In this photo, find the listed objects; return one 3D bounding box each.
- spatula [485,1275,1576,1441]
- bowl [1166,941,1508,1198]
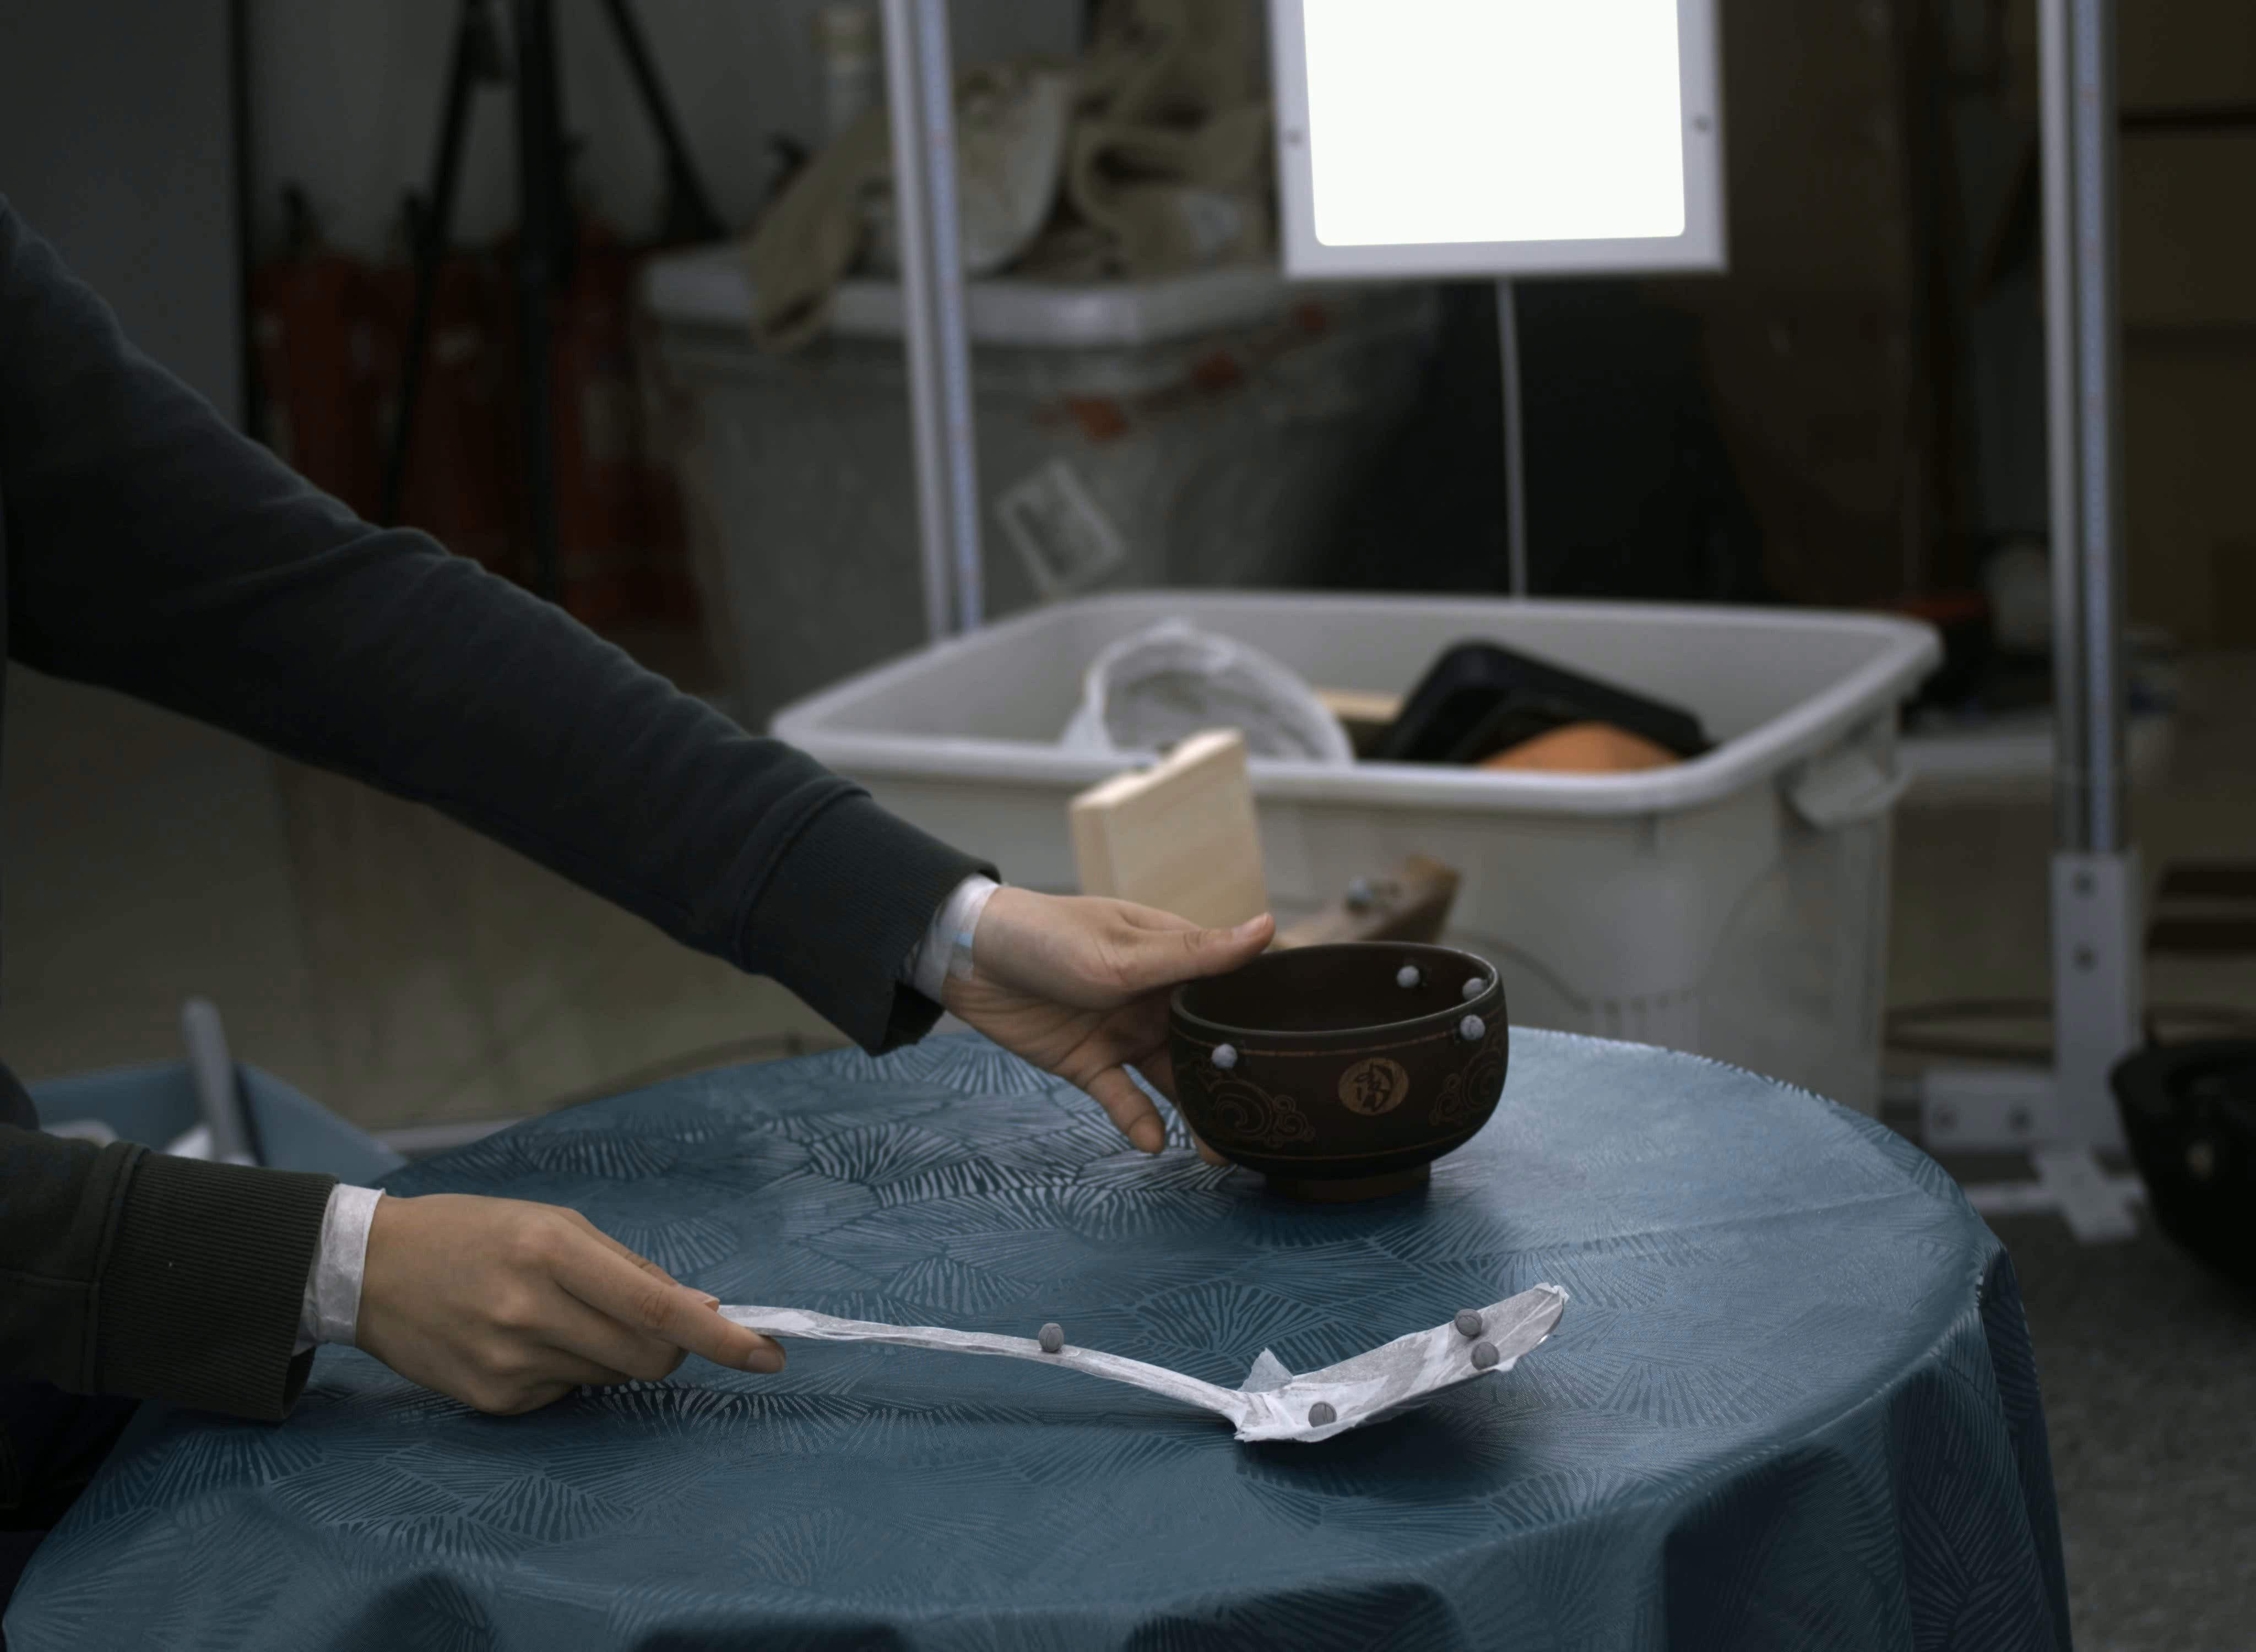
[{"bbox_3d":[-0.041,0.155,1.696,0.370,0.045,0.097,4,16,22],"label":"spatula"},{"bbox_3d":[0.073,0.086,1.884,0.118,0.070,0.118,-5,12,0],"label":"bowl"}]
